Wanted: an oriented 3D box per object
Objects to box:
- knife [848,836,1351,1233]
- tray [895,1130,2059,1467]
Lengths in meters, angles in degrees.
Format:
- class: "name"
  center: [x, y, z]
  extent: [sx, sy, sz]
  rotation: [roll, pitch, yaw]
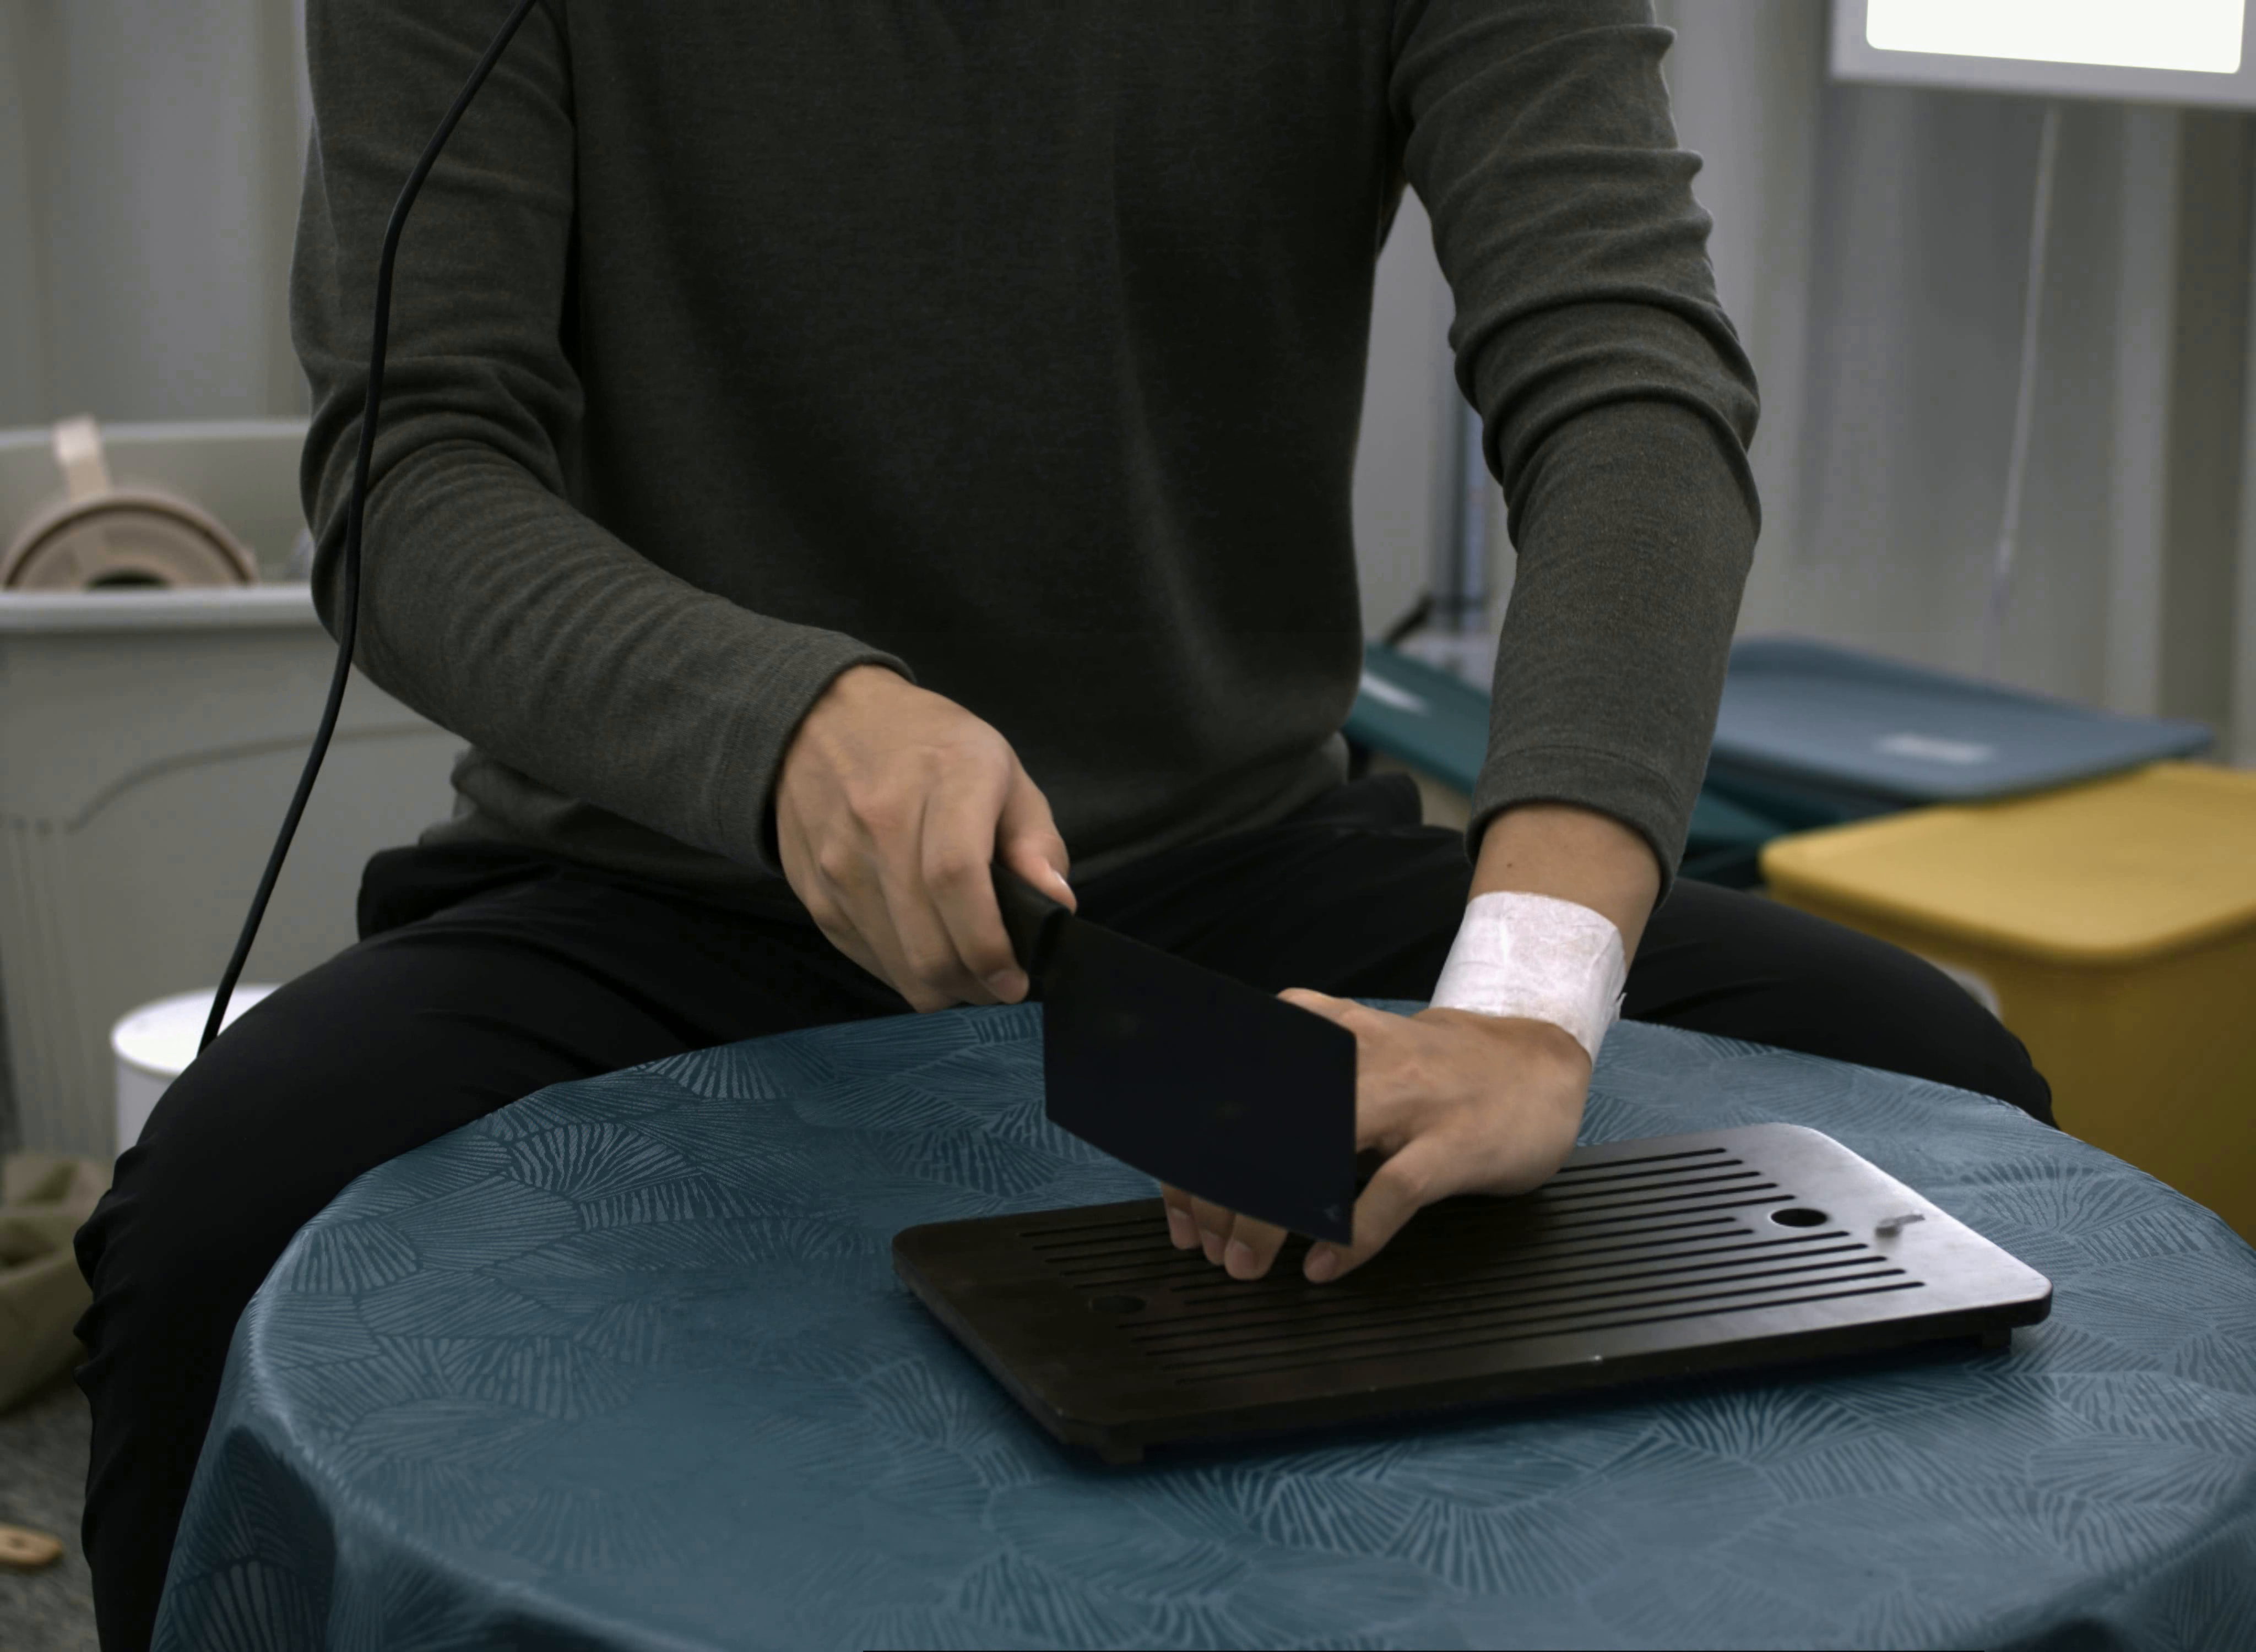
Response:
- class: "knife"
  center: [-0.011, 0.053, 1.507]
  extent: [0.021, 0.081, 0.298]
  rotation: [-5, 16, -27]
- class: "tray"
  center: [0.099, 0.133, 1.517]
  extent: [0.307, 0.019, 0.168]
  rotation: [-5, 15, -20]
